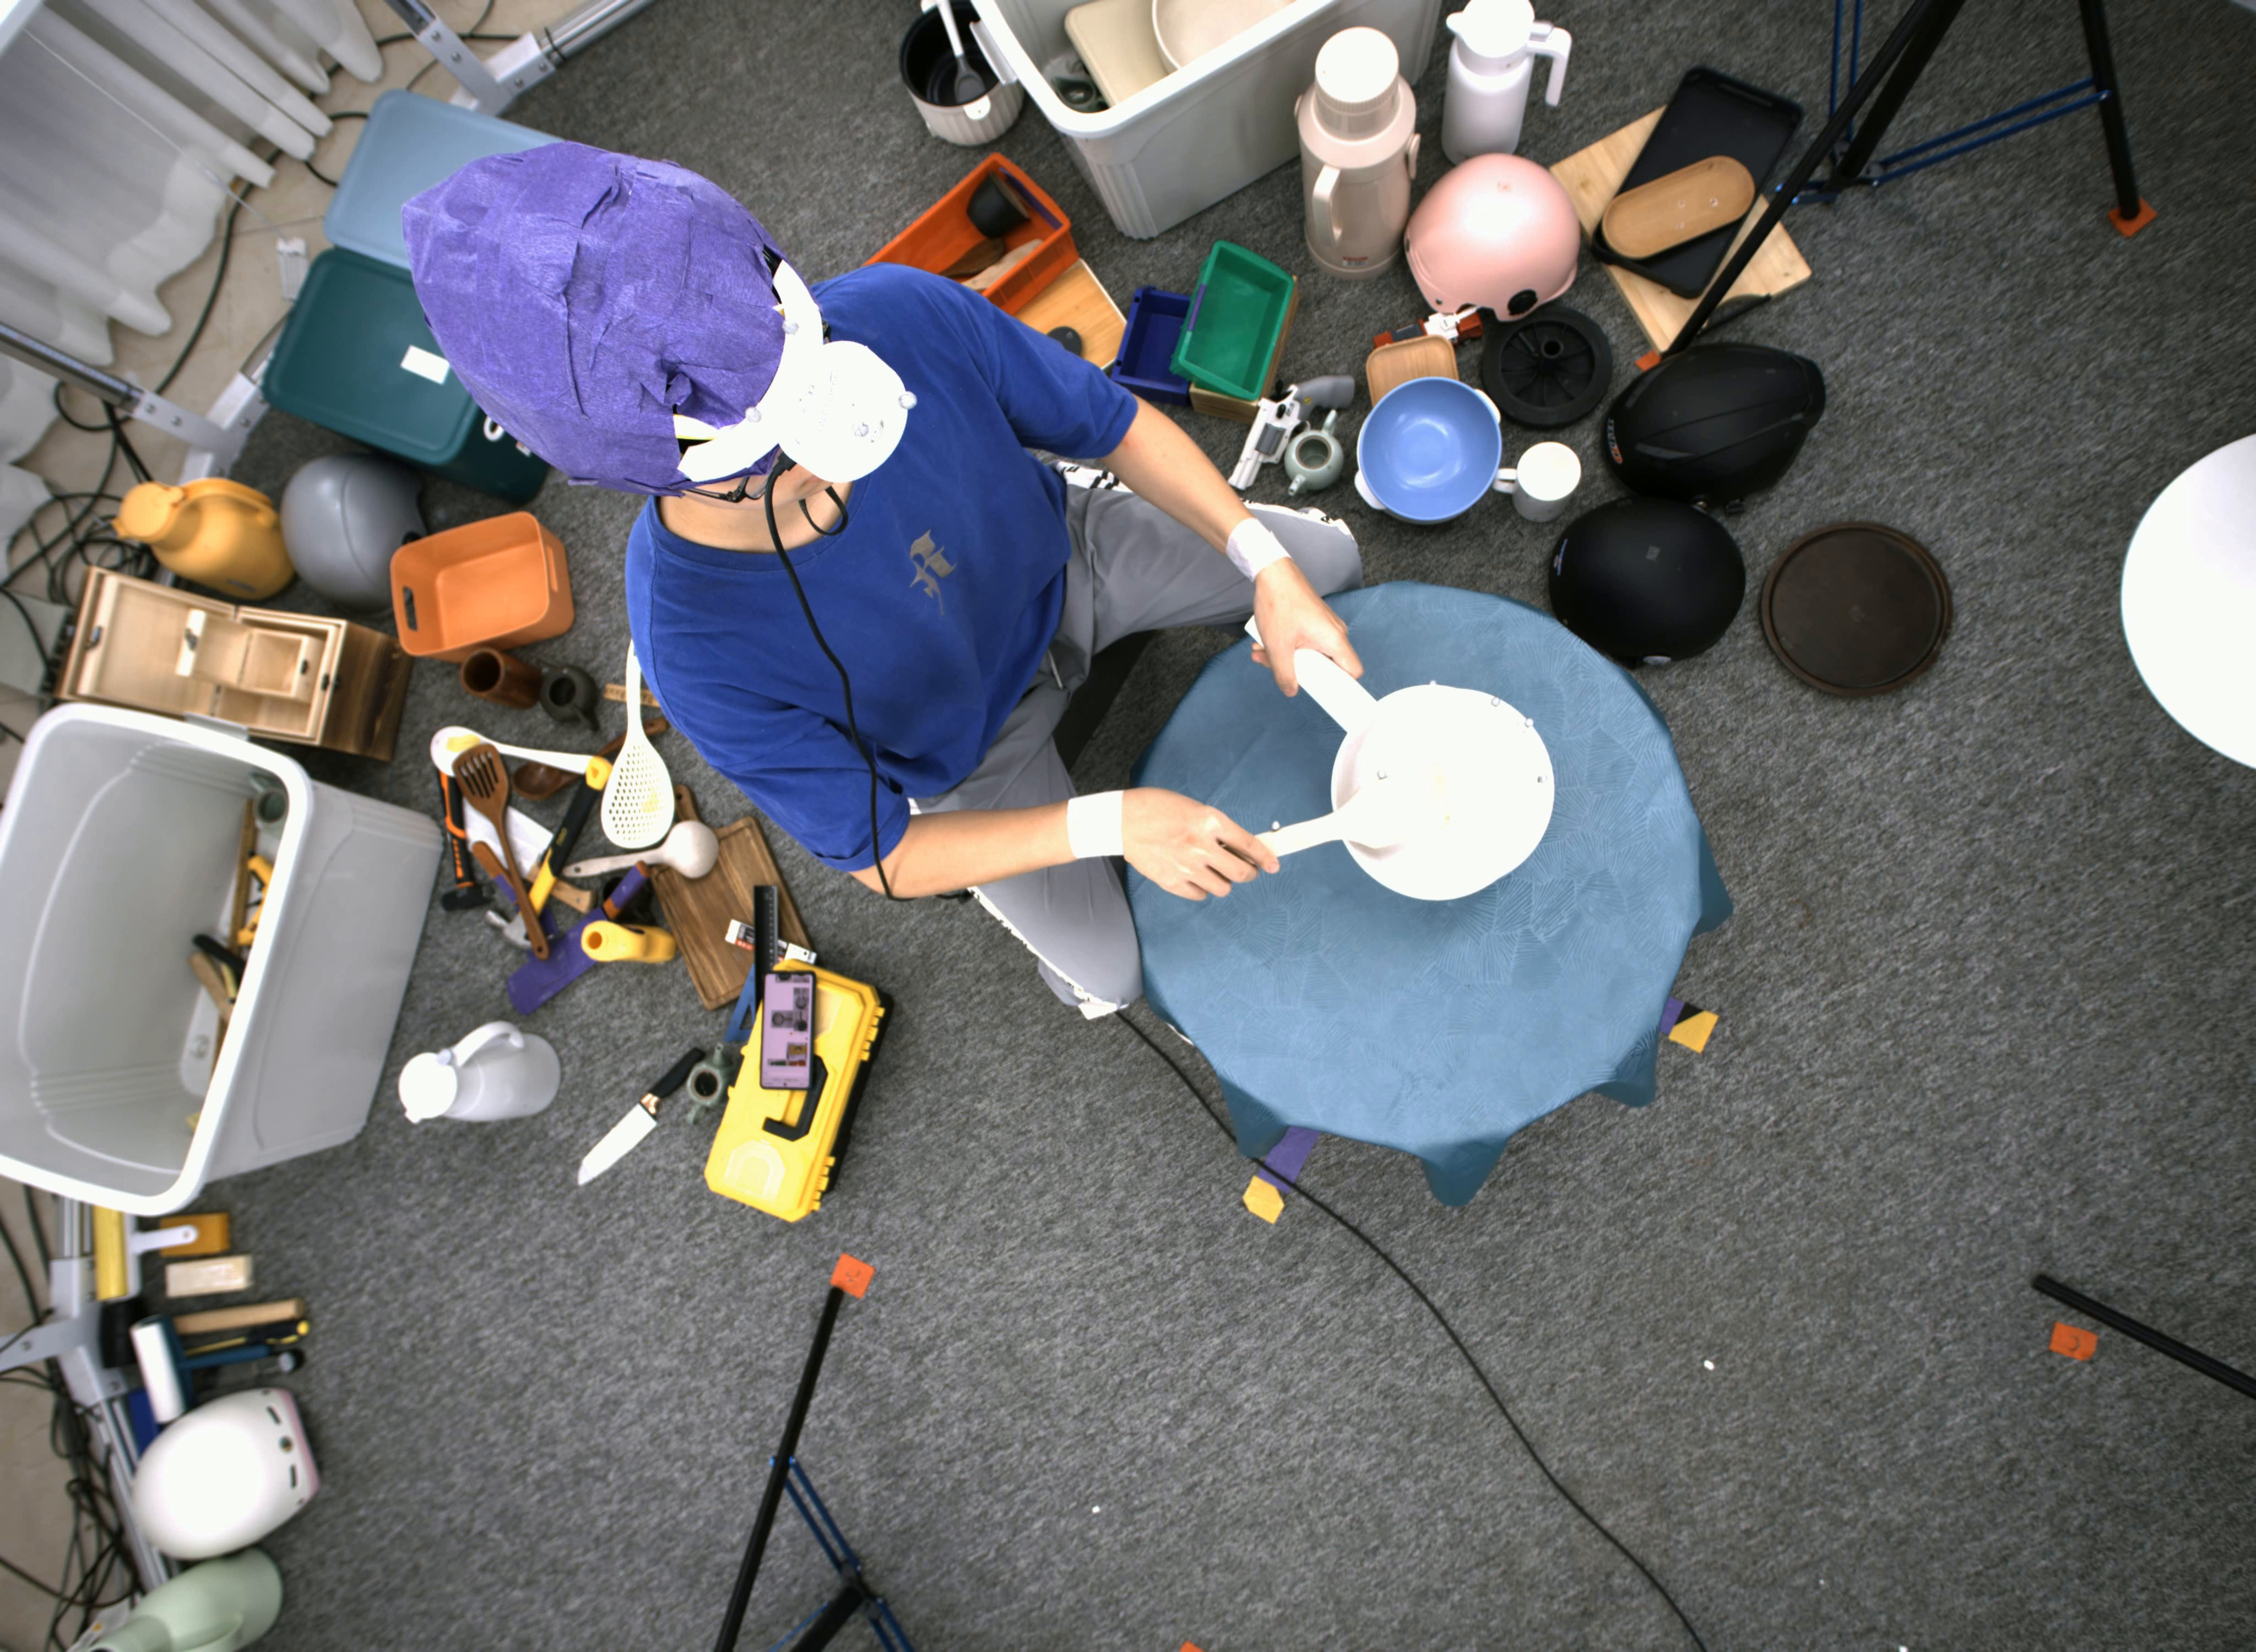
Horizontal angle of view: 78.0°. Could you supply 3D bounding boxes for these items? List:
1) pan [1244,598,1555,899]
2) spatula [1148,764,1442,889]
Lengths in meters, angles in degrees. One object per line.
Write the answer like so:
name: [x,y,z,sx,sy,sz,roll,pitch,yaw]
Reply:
pan: [0.259,-0.092,1.346,0.352,0.101,0.206,48,122,17]
spatula: [0.160,0.008,1.310,0.293,0.010,0.073,-16,117,-3]
